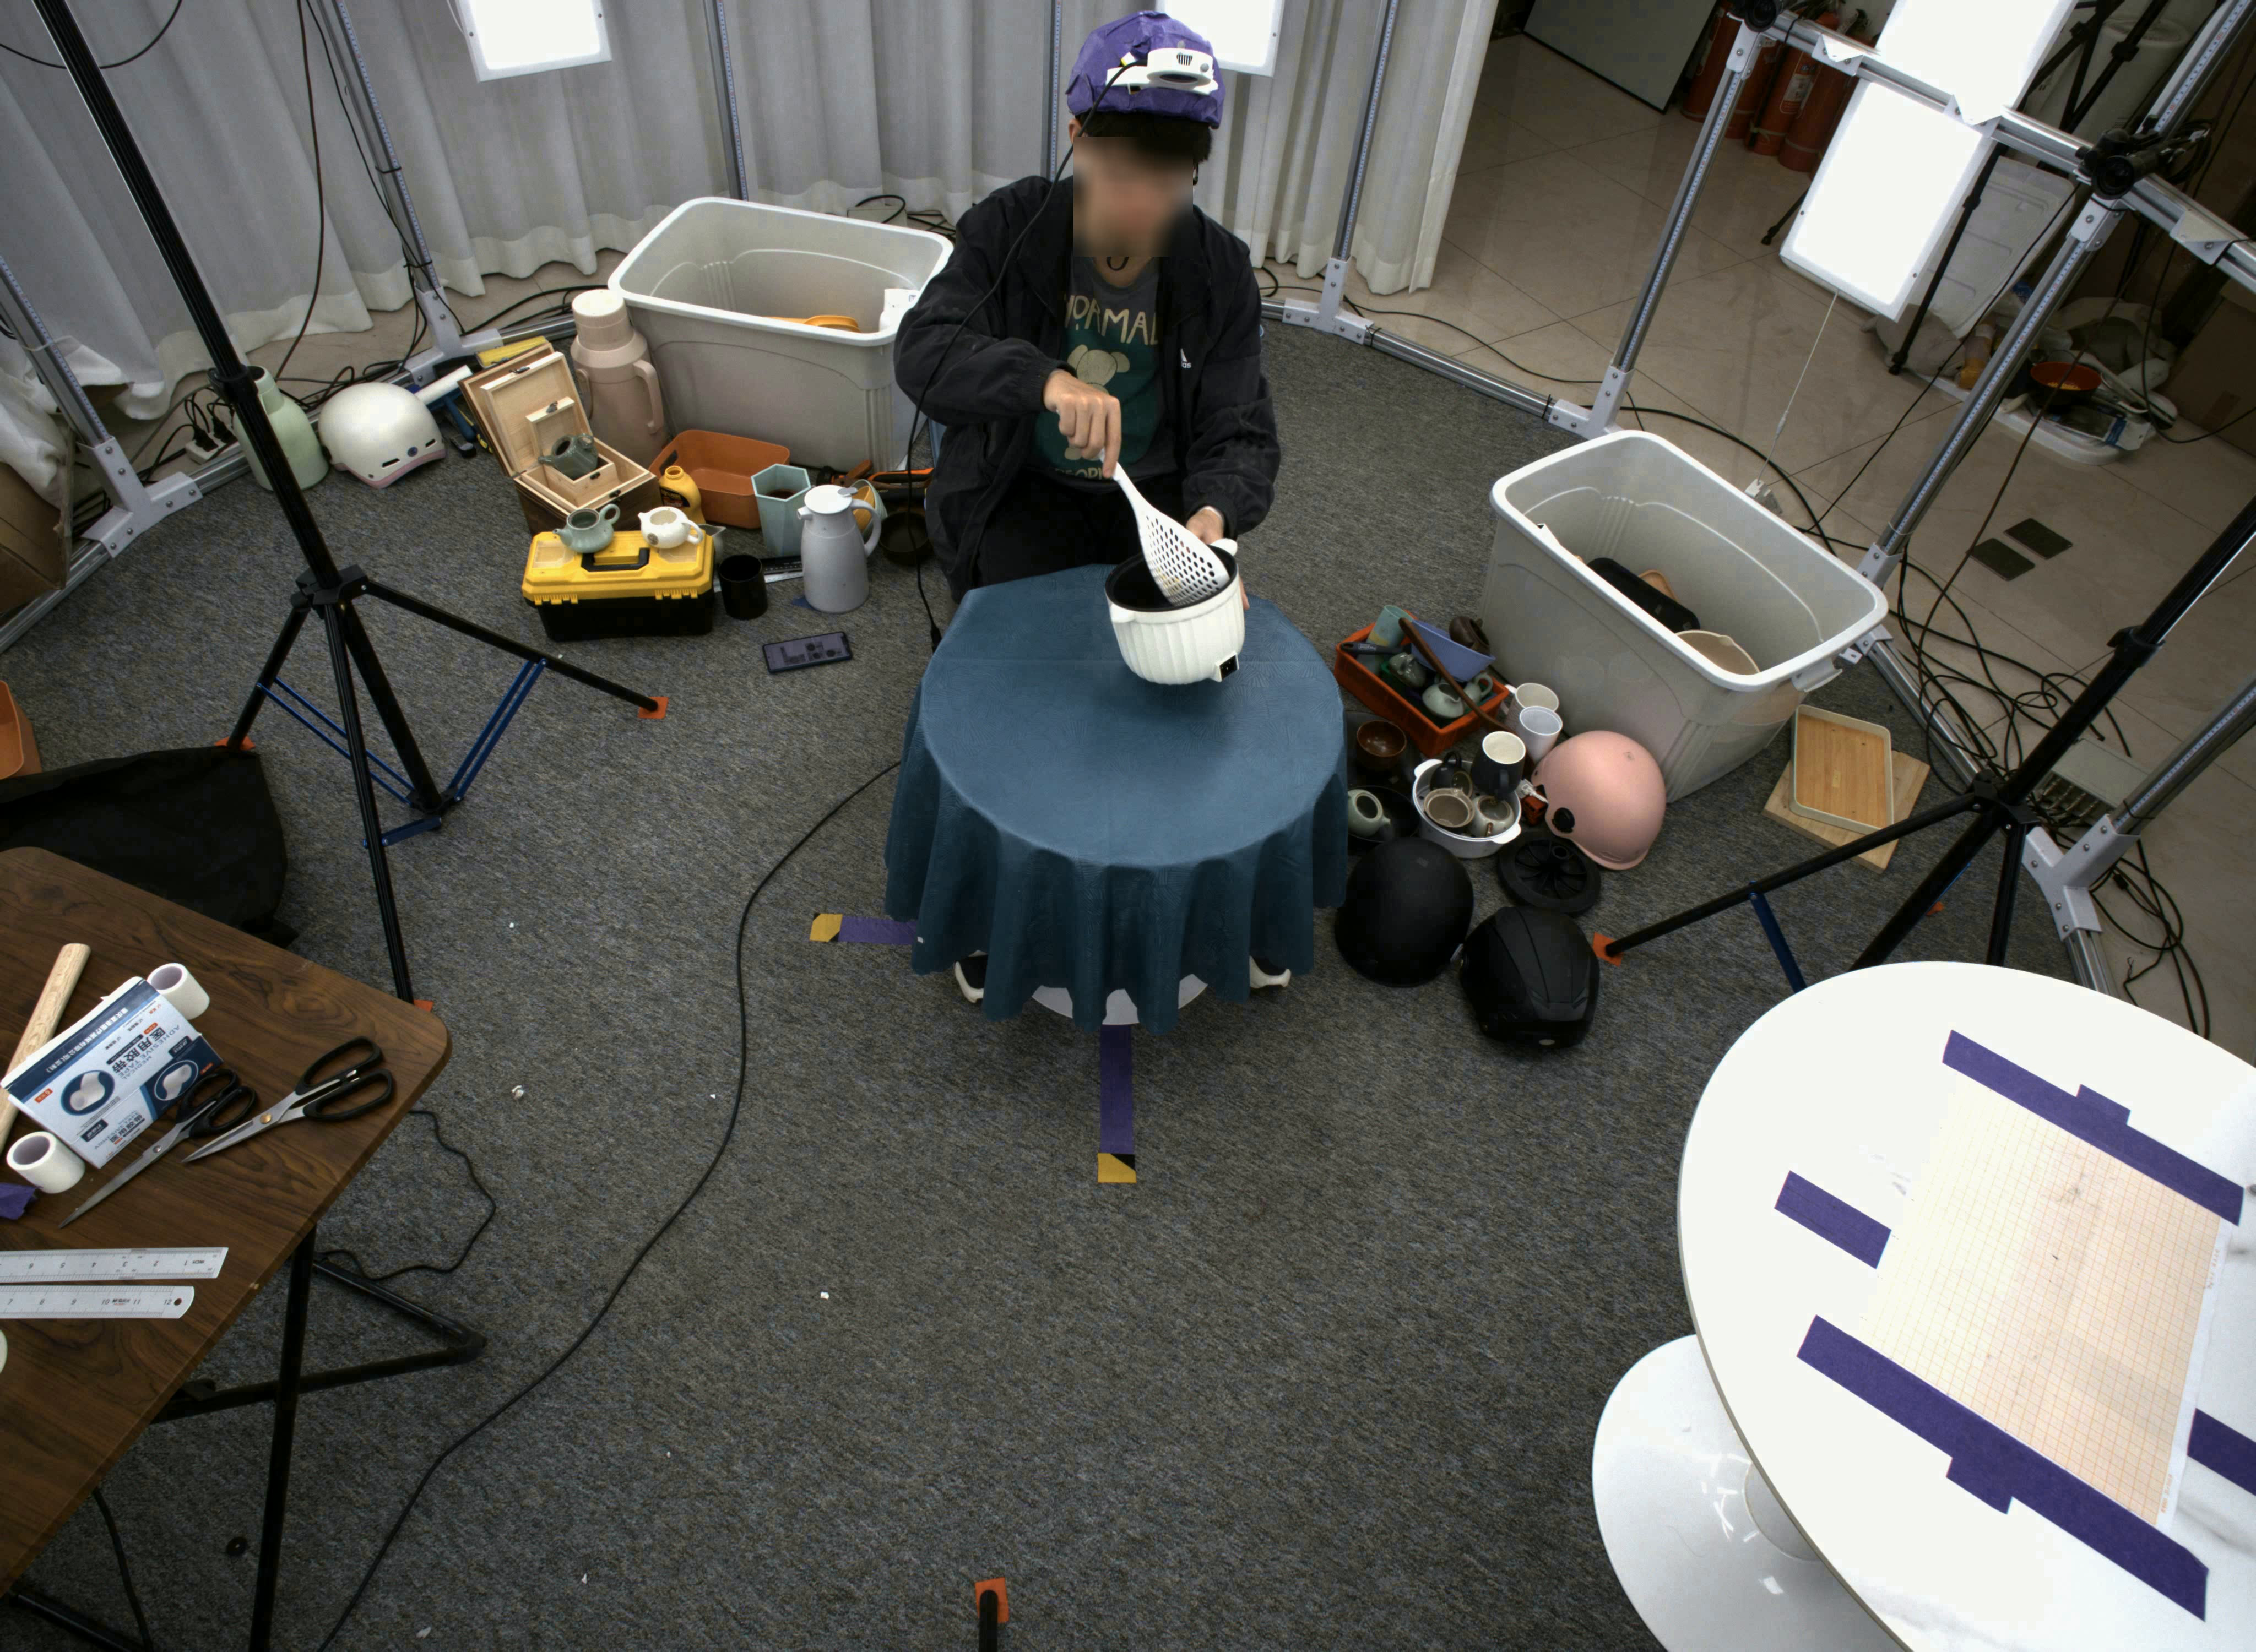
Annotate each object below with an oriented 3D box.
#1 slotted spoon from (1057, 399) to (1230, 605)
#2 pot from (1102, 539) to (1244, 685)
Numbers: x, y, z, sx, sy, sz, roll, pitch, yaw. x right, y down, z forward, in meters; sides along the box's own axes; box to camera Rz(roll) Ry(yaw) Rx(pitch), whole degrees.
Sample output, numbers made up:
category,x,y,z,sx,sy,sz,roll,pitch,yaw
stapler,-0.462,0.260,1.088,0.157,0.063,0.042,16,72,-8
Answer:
category,x,y,z,sx,sy,sz,roll,pitch,yaw
slotted spoon,0.015,-0.426,1.741,0.051,0.136,0.346,-38,99,-32
pot,0.064,-0.288,1.772,0.242,0.139,0.193,-35,44,-28
